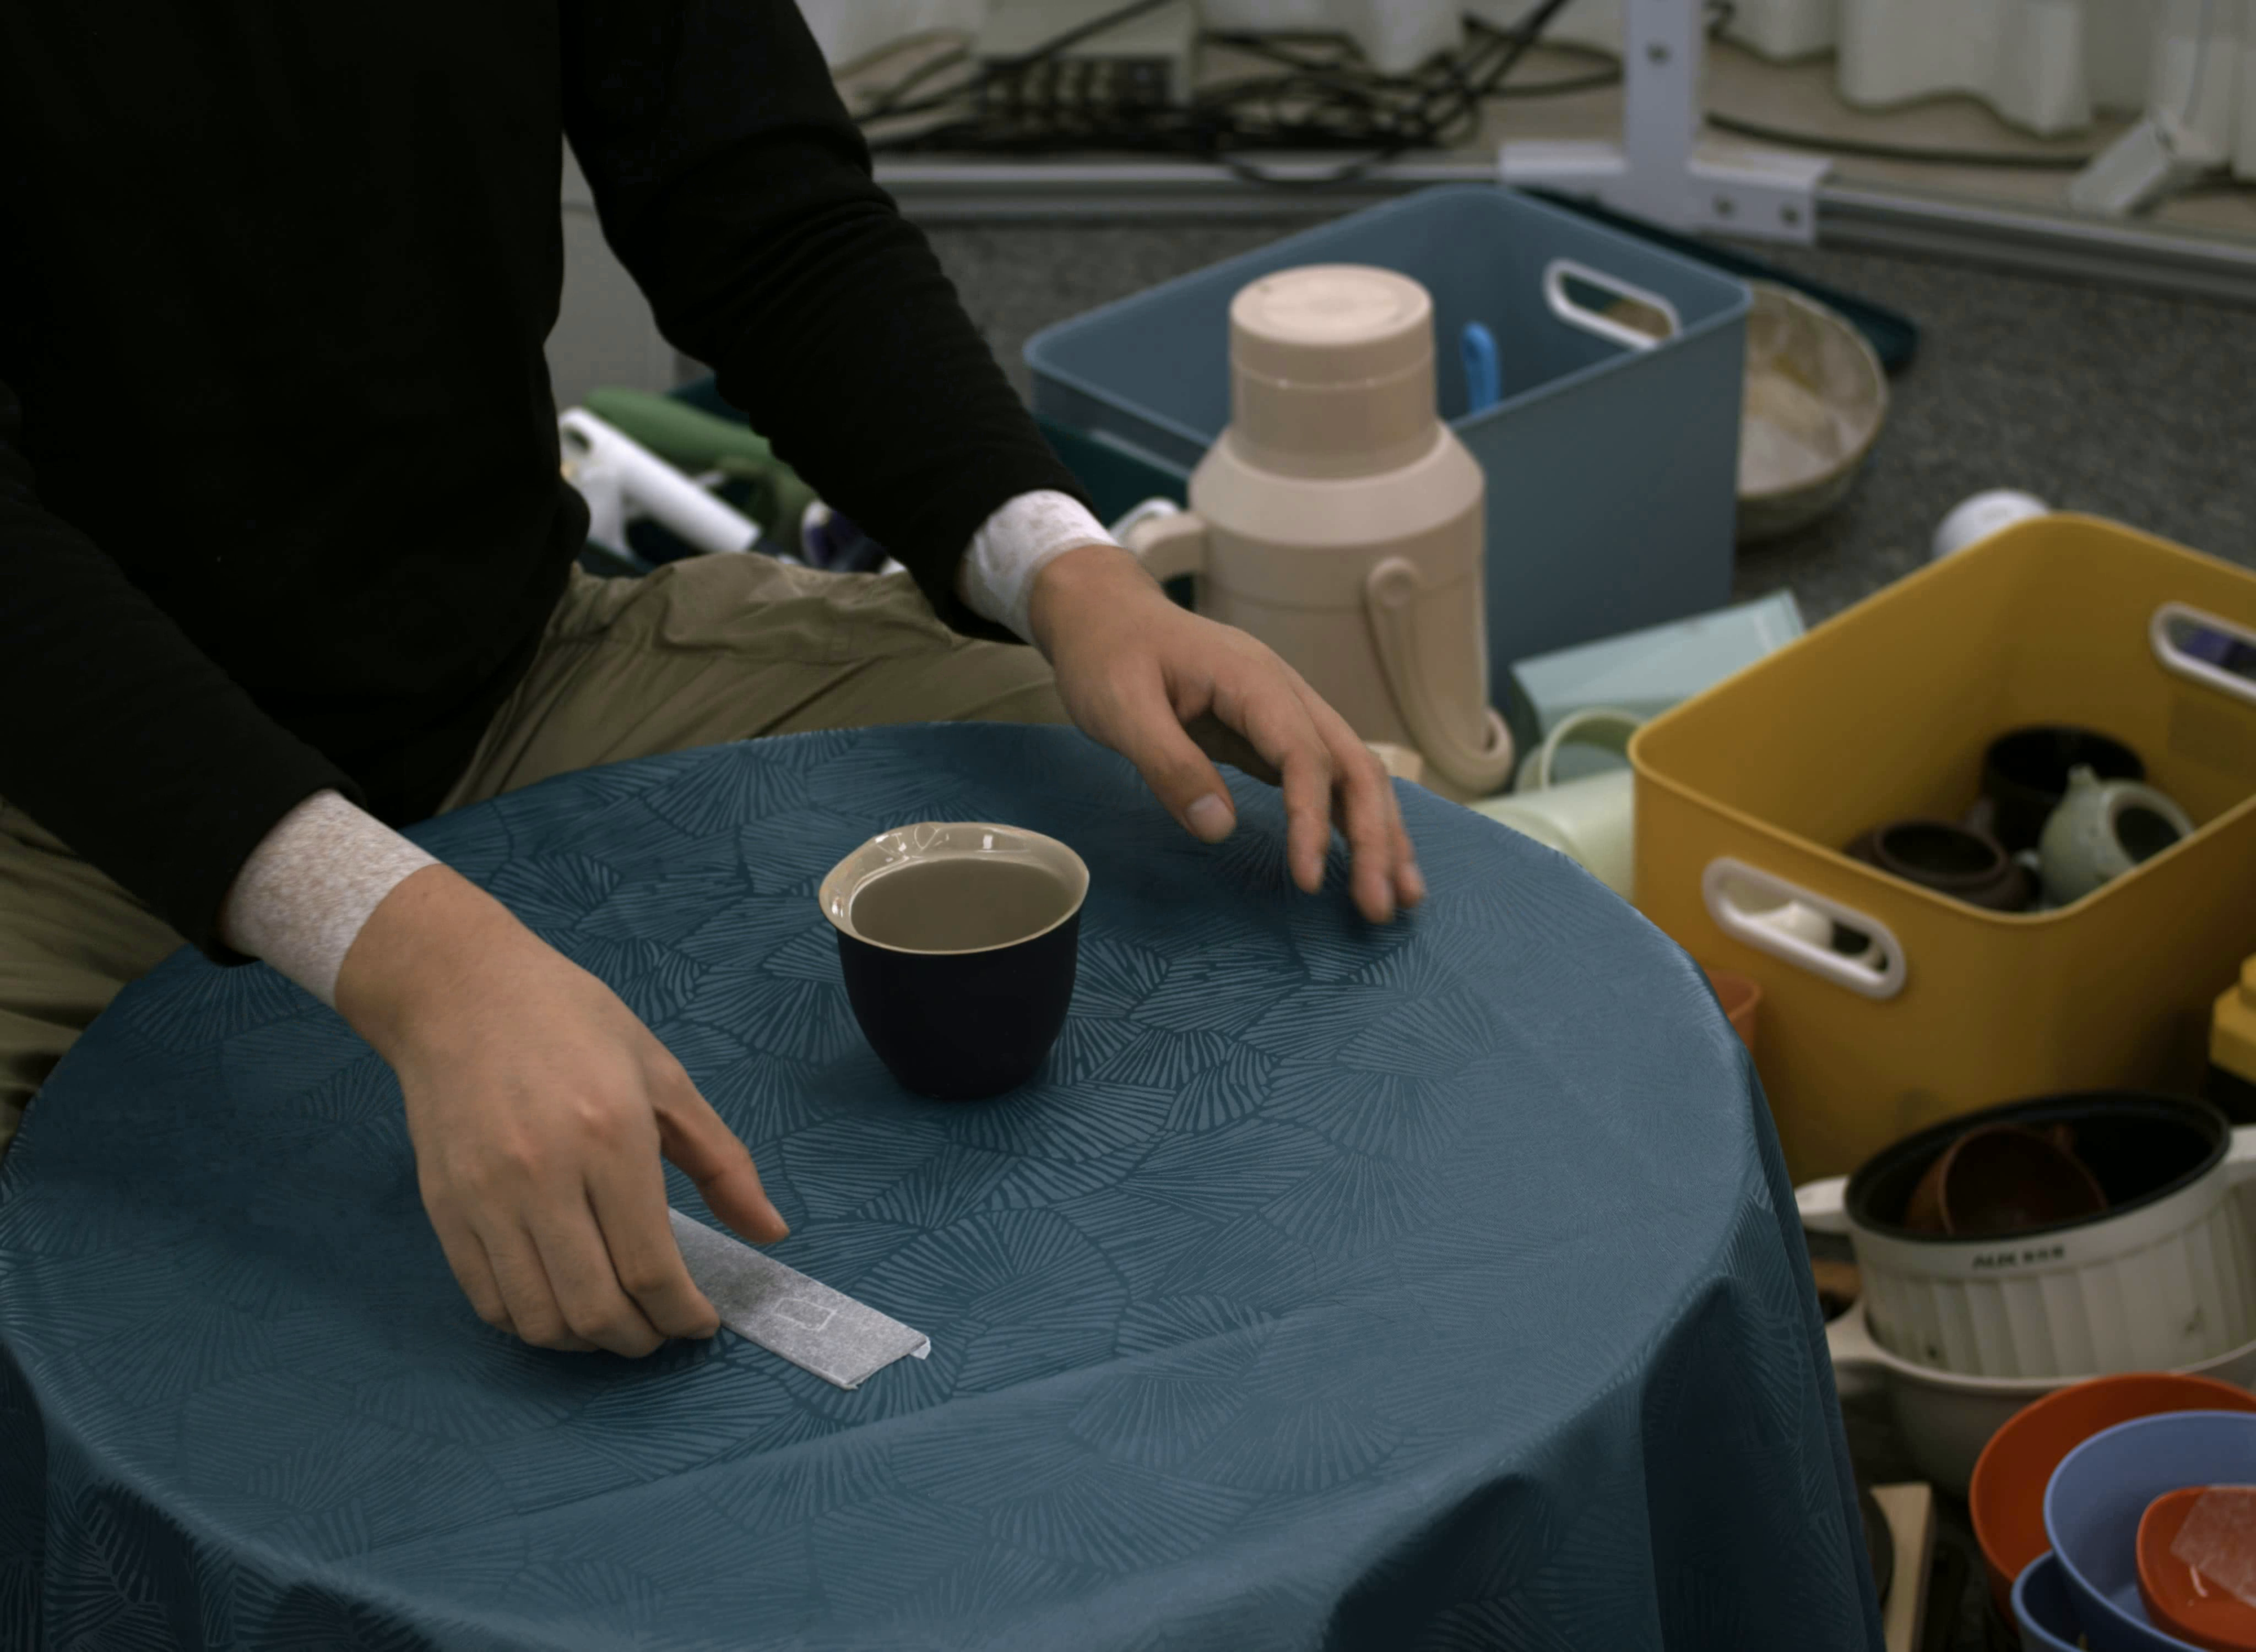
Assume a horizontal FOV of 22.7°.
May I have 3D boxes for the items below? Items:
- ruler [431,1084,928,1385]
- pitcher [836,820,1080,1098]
[{"bbox_3d":[-0.153,0.130,1.834,0.217,0.024,0.039,21,38,40],"label":"ruler"},{"bbox_3d":[-0.059,0.049,1.930,0.084,0.070,0.096,-15,30,-20],"label":"pitcher"}]
